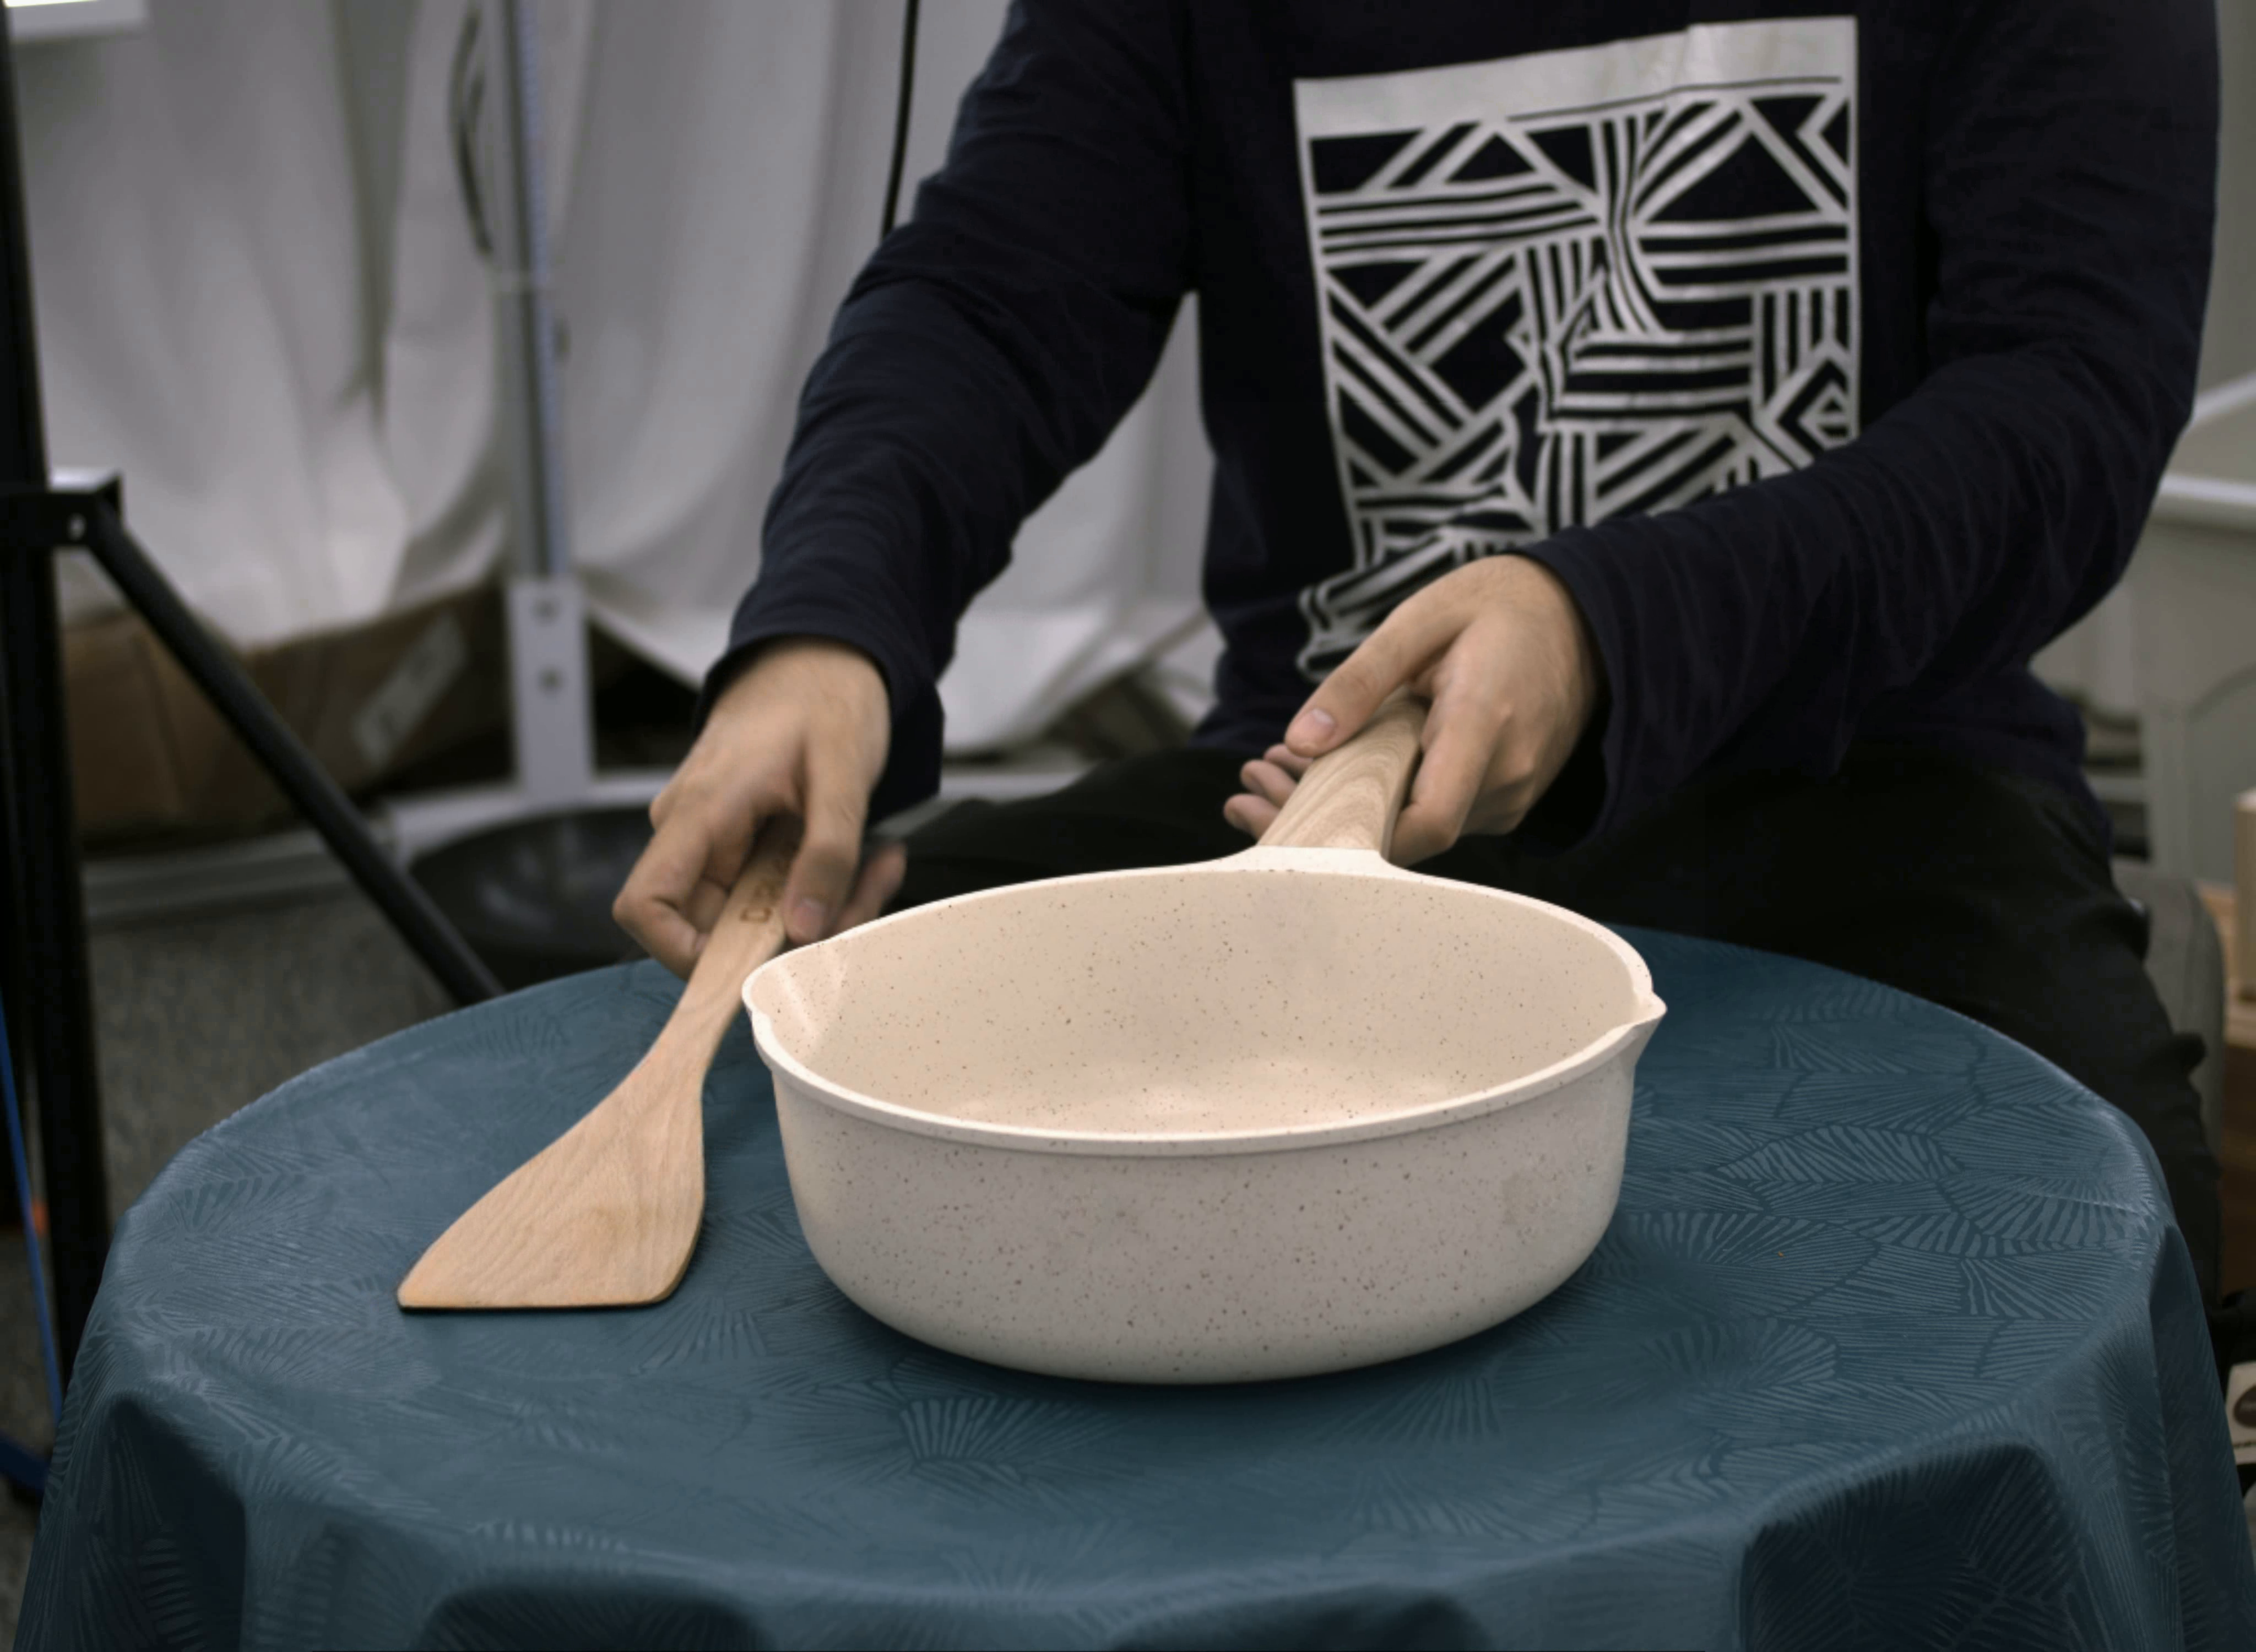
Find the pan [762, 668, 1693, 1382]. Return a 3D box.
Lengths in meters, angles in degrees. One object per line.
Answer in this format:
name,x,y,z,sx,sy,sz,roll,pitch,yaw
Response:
pan,0.049,0.054,1.567,0.265,0.102,0.431,1,15,15

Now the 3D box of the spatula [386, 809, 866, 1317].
spatula,-0.133,0.068,1.618,0.080,0.016,0.326,2,28,15
